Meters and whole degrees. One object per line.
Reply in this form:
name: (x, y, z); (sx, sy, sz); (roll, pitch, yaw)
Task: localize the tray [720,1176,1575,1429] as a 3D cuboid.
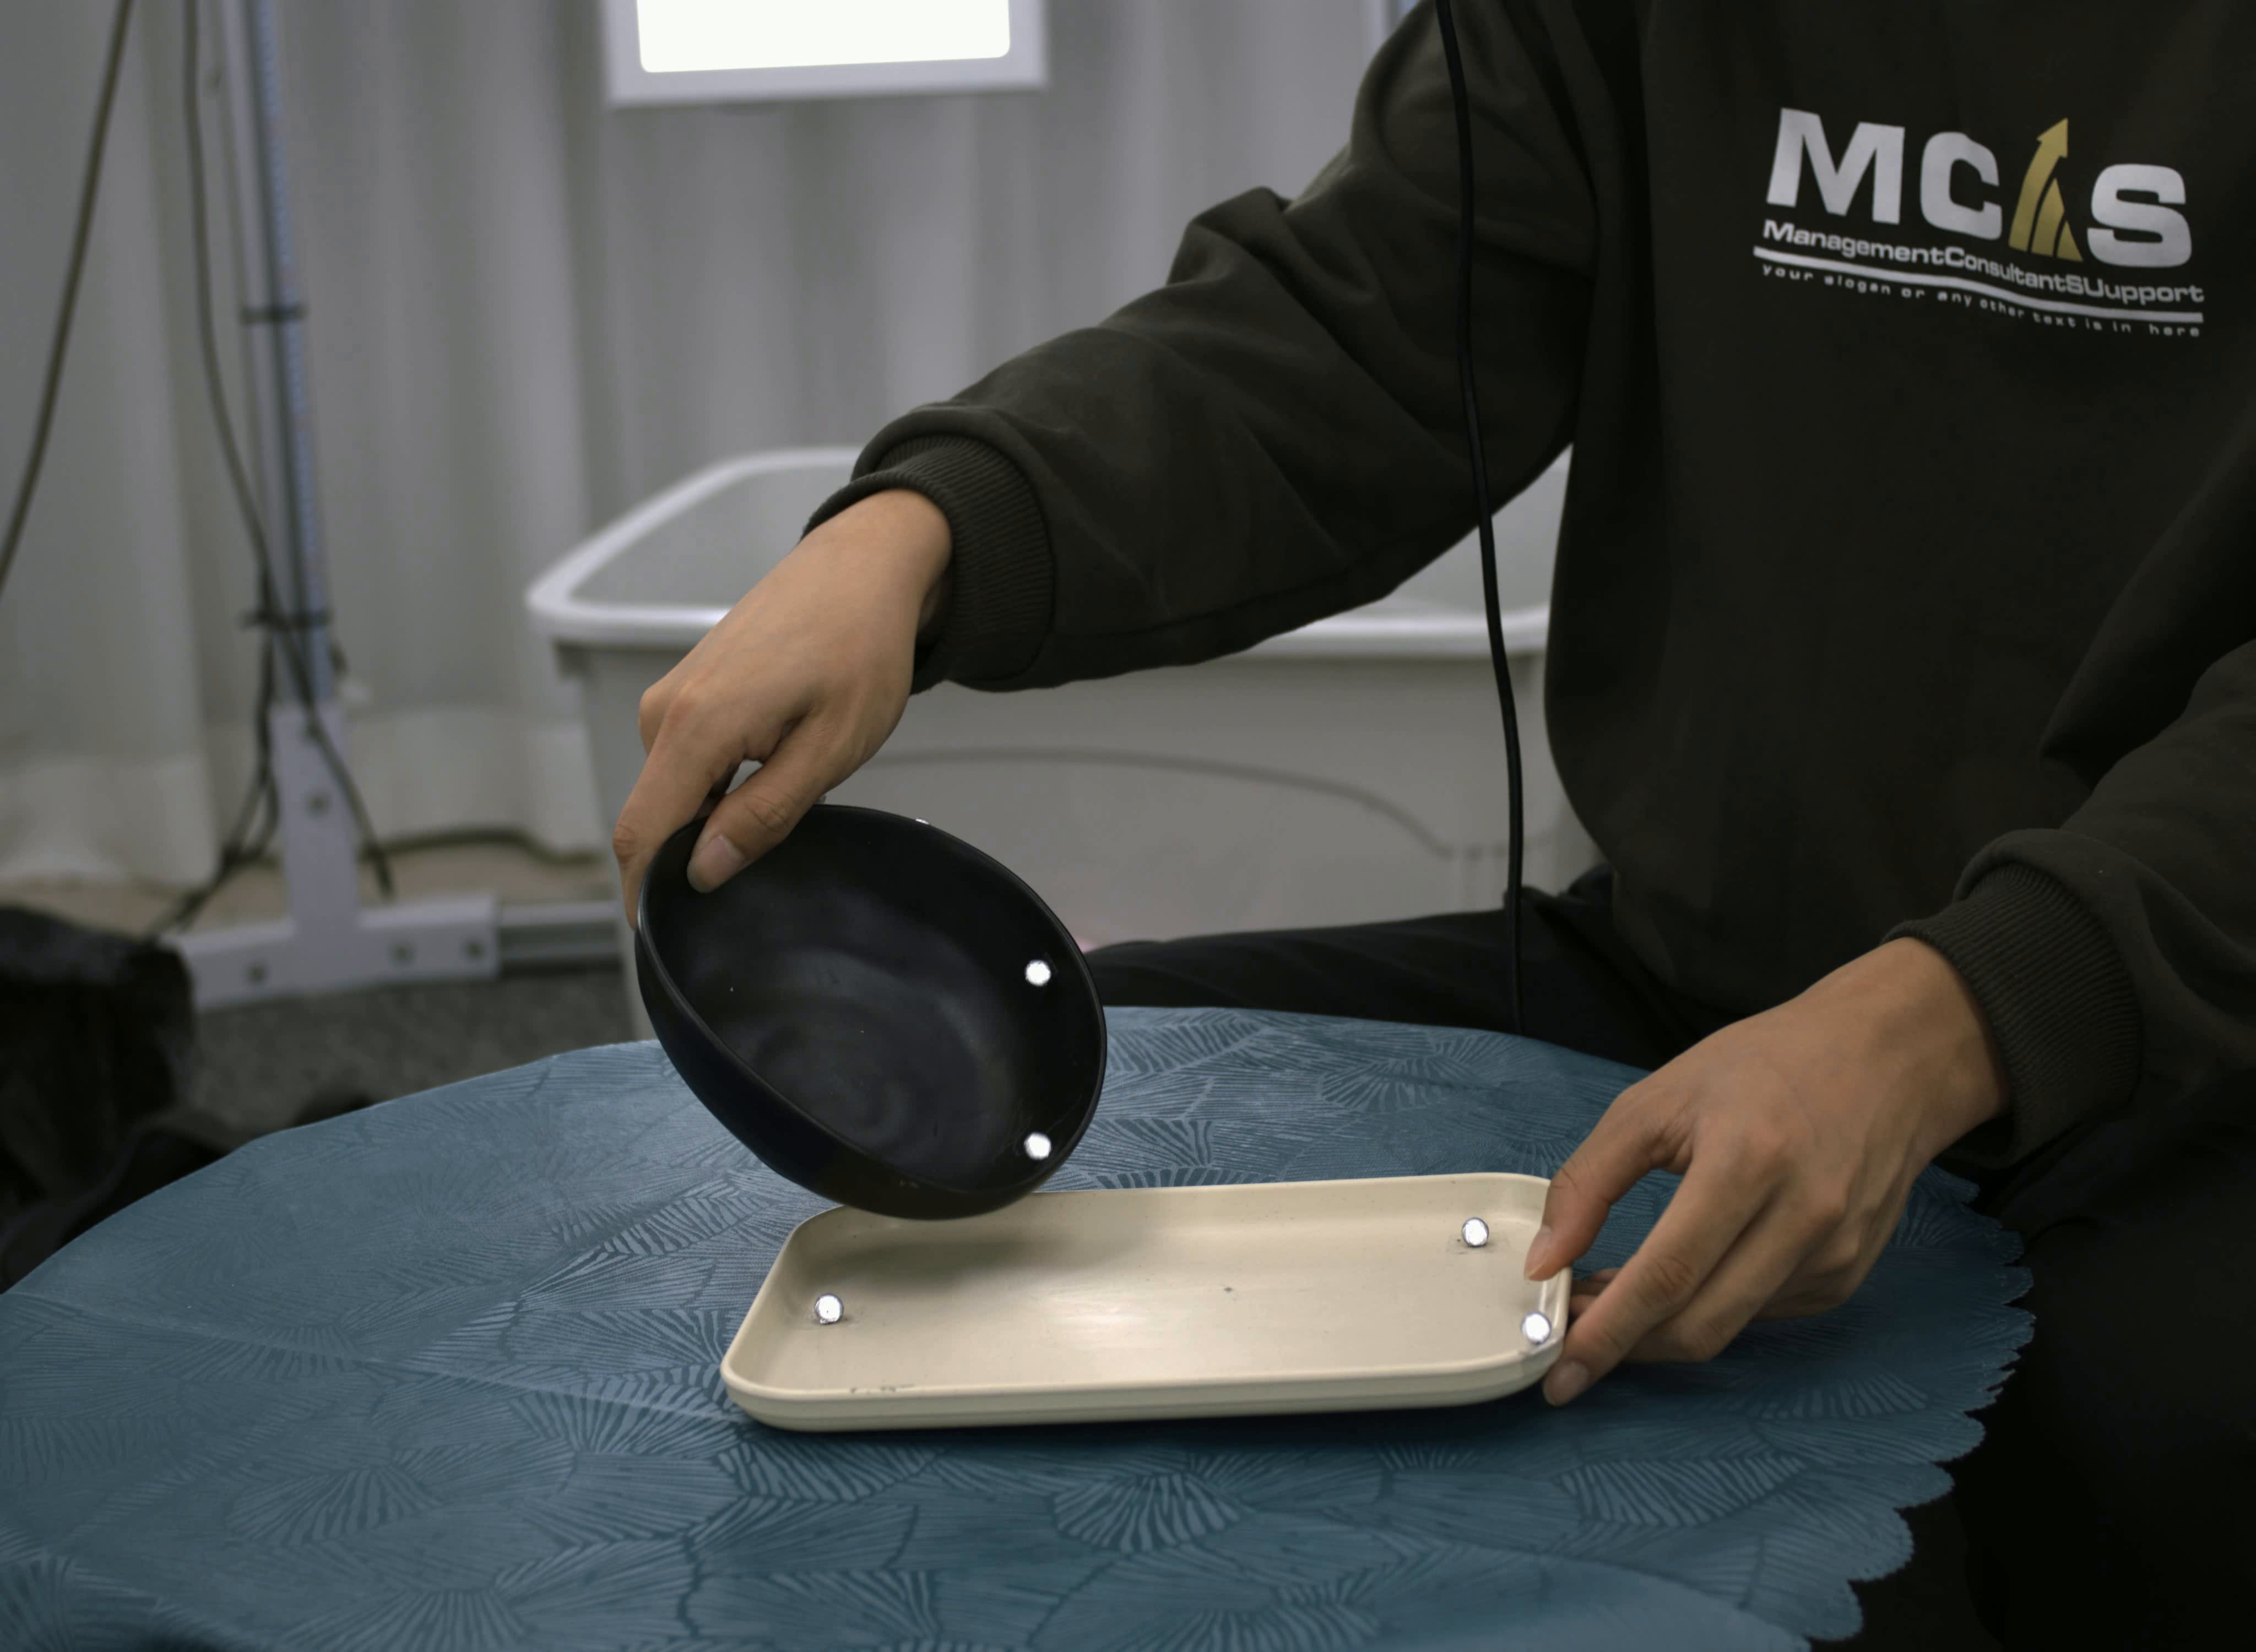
tray: (0.009, 0.138, 1.578); (0.239, 0.017, 0.172); (-3, 13, 8)

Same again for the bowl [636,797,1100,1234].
bowl: (-0.083, 0.067, 1.676); (0.137, 0.066, 0.172); (-15, 51, -35)
